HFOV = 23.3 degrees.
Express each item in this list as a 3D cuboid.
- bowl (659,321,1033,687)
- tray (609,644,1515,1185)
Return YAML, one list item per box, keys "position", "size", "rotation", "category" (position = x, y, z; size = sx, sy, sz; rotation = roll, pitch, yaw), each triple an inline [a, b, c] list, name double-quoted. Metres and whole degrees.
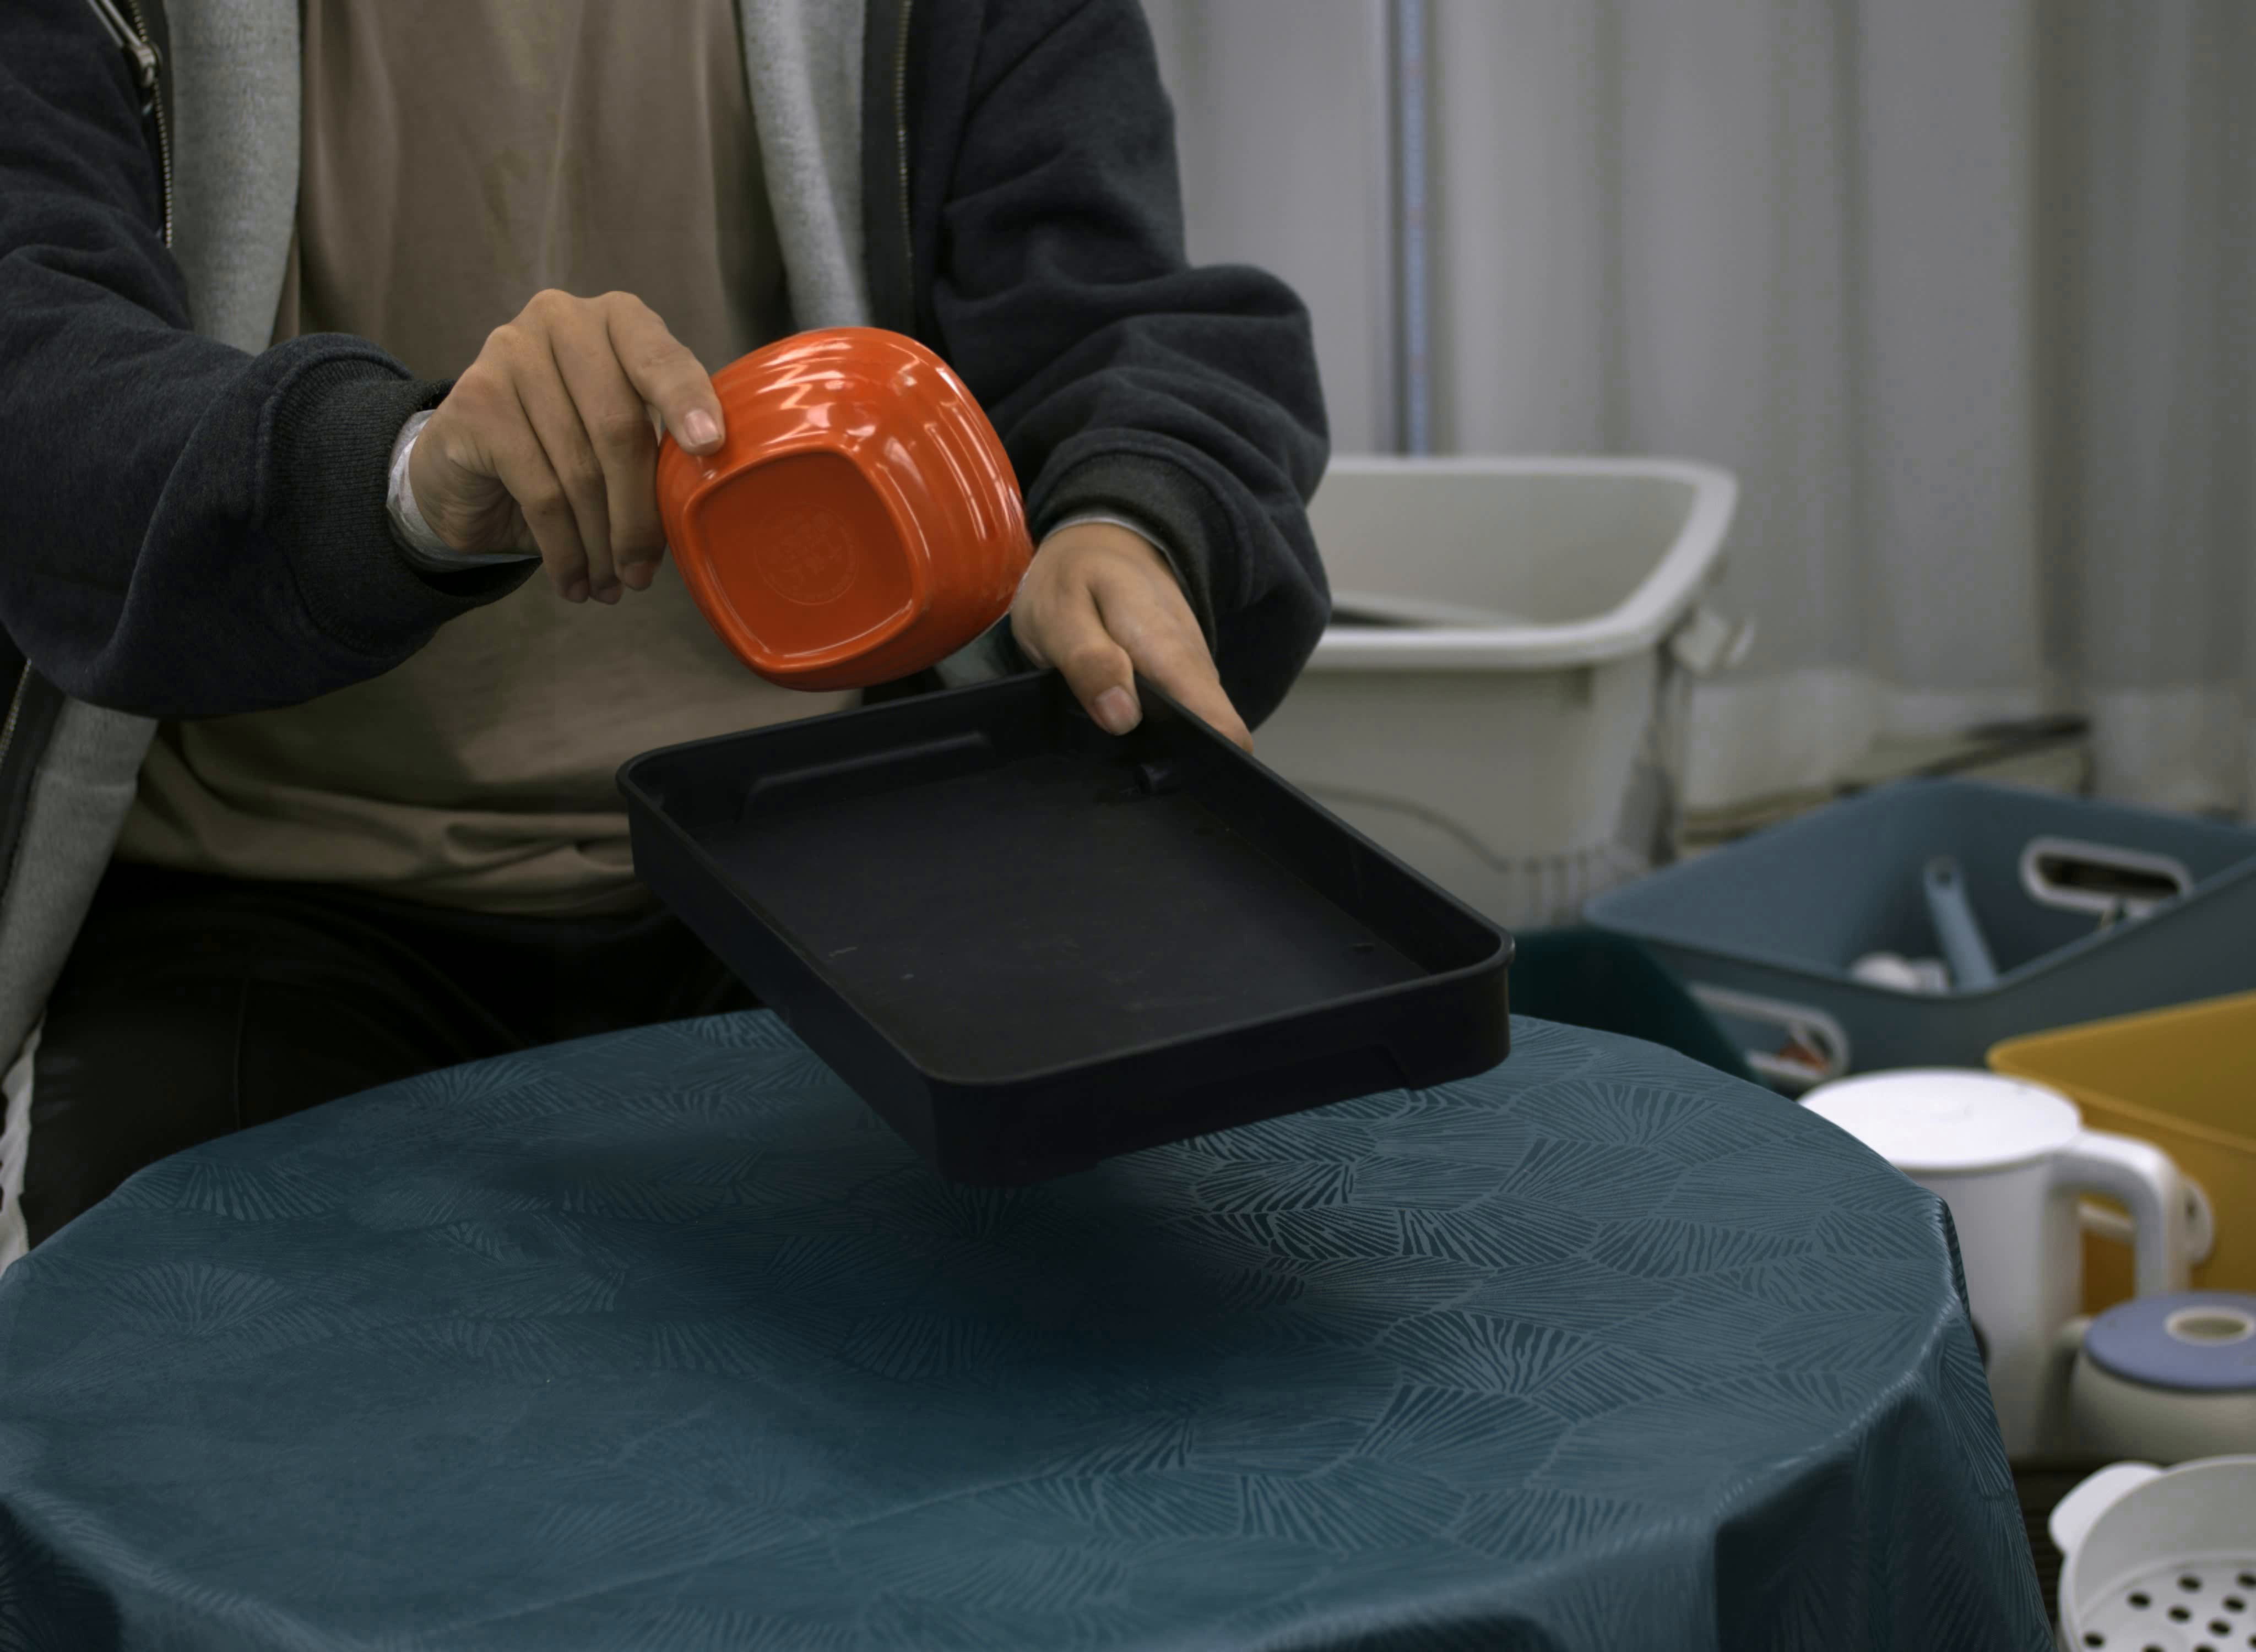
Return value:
- position: [-0.090, -0.088, 1.636]
  size: [0.119, 0.118, 0.052]
  rotation: [1, 23, 14]
  category: "bowl"
- position: [-0.027, 0.020, 1.672]
  size: [0.183, 0.037, 0.321]
  rotation: [-12, 23, -20]
  category: "tray"
